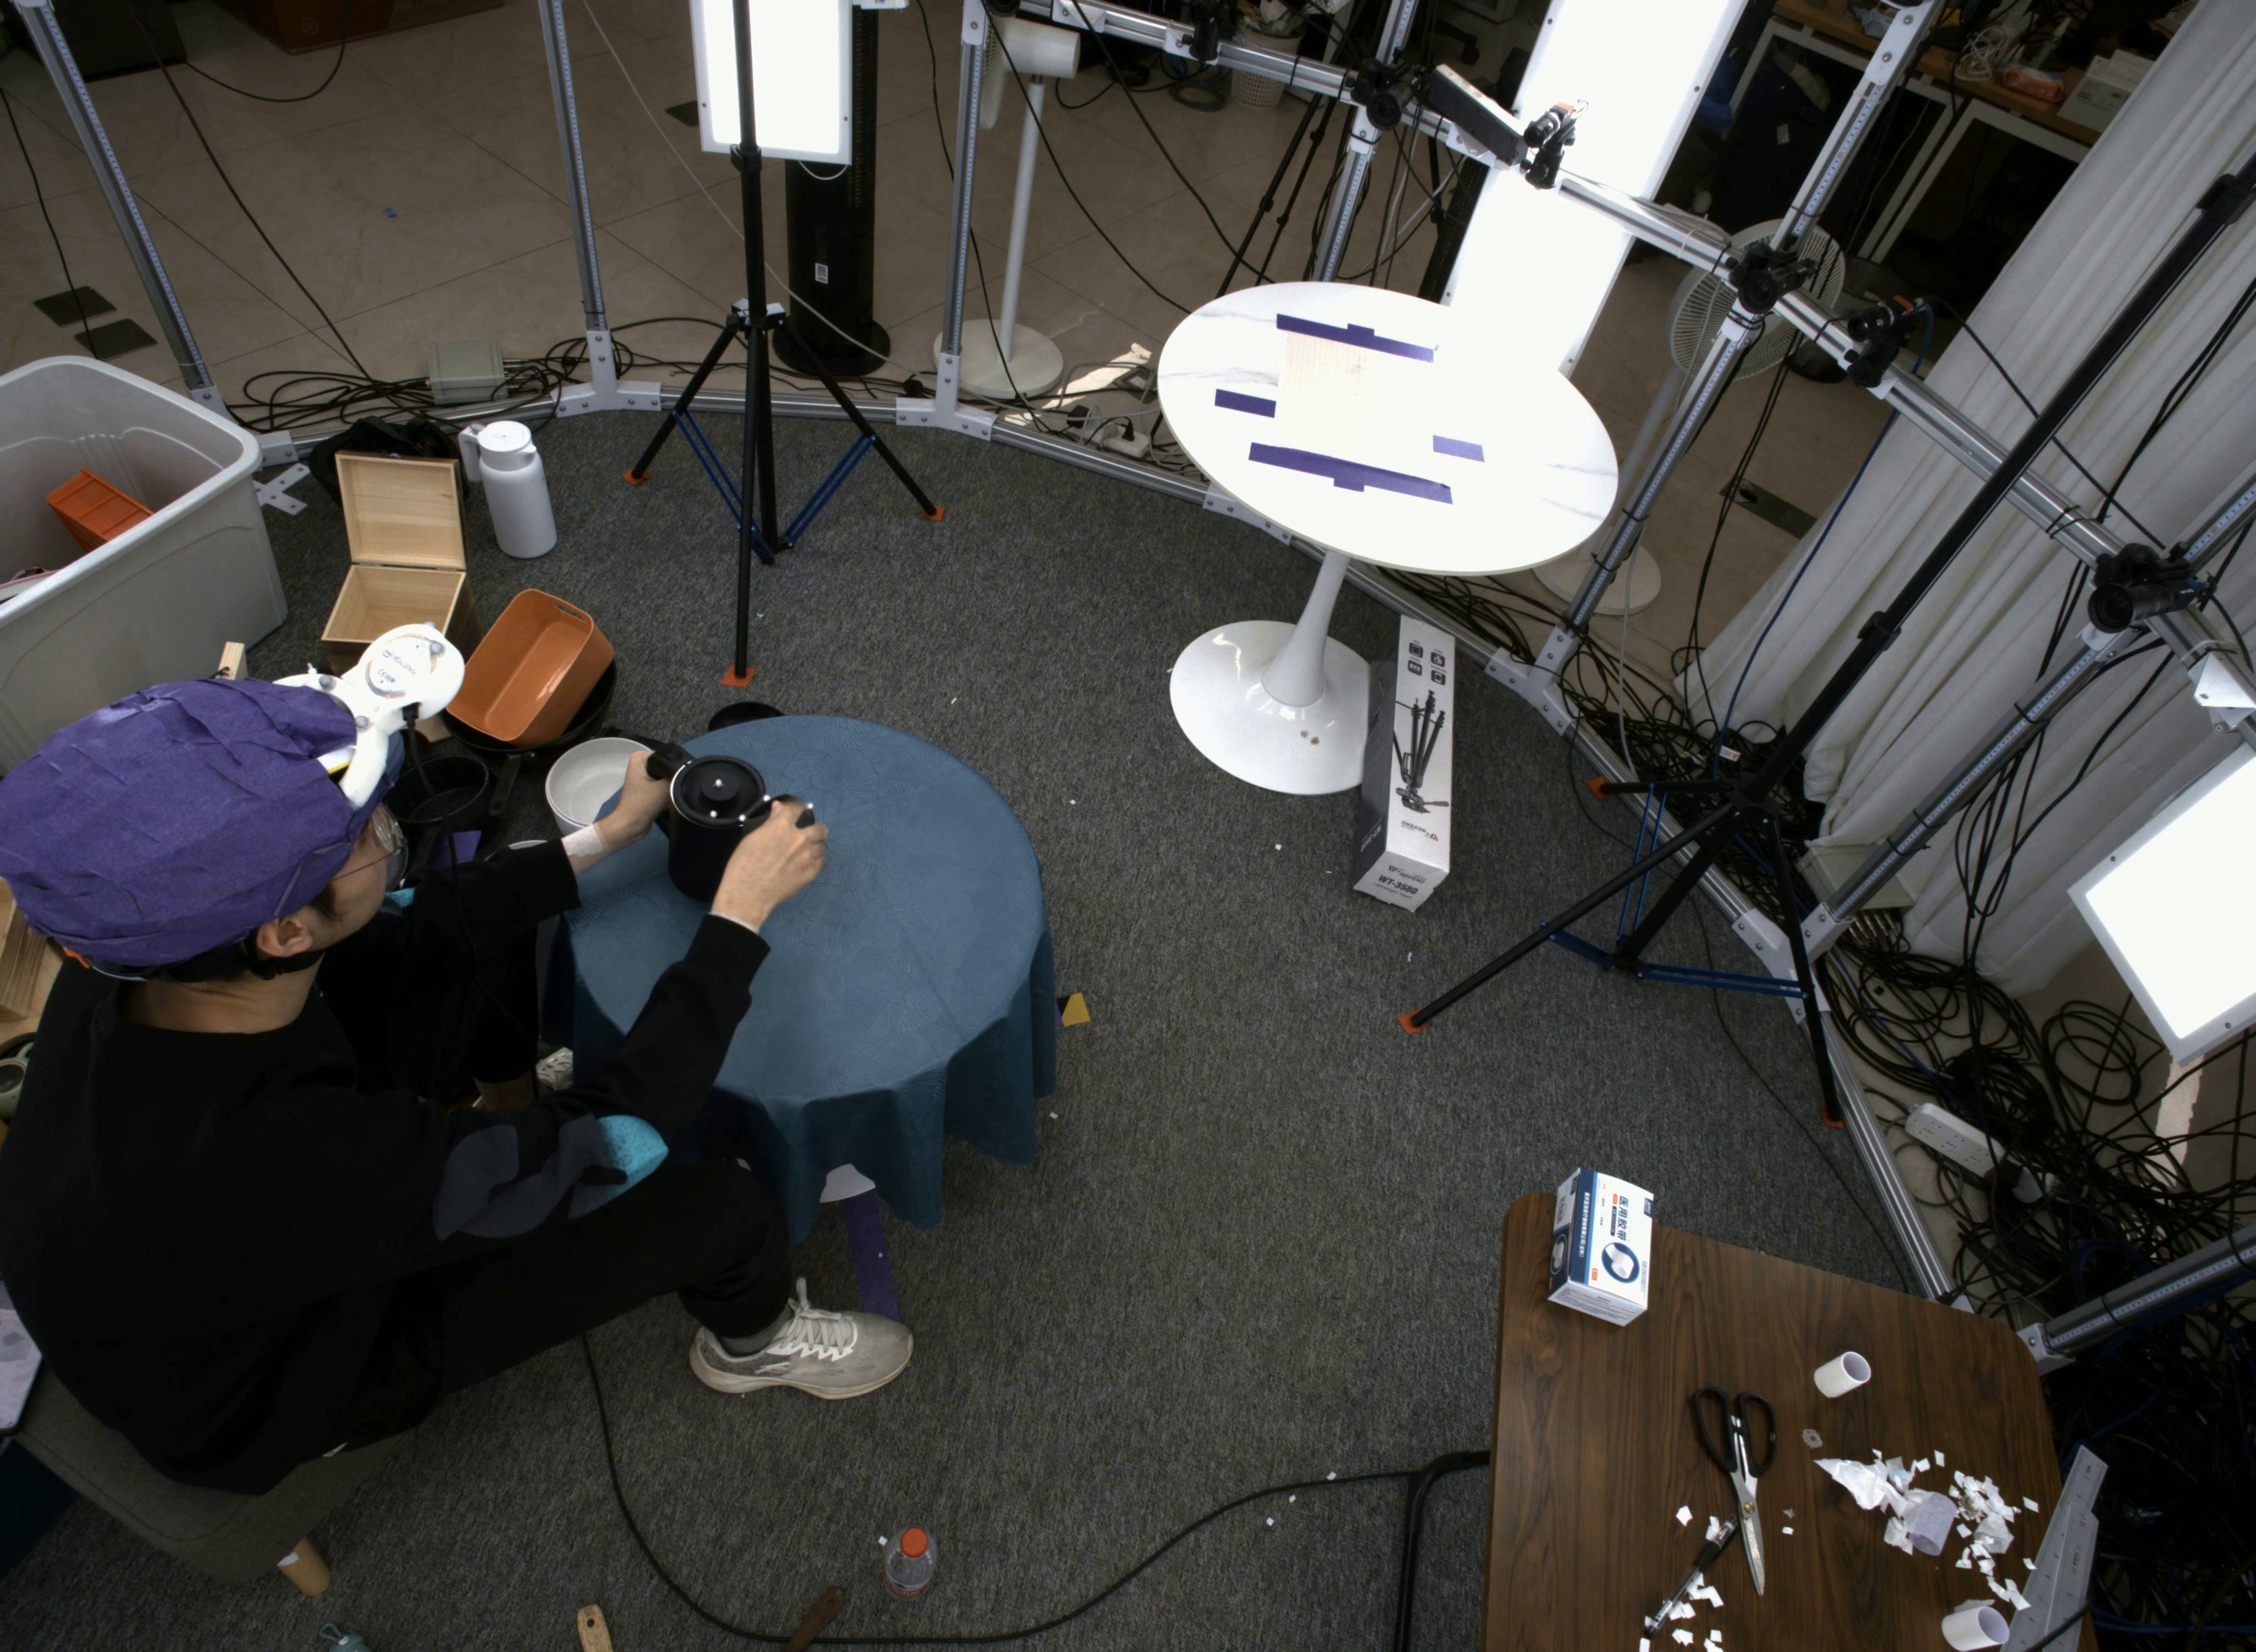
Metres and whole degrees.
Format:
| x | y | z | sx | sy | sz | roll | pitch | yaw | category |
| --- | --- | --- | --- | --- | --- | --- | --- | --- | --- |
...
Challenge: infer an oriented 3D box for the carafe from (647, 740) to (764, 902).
| x | y | z | sx | sy | sz | roll | pitch | yaw | category |
| --- | --- | --- | --- | --- | --- | --- | --- | --- | --- |
| -0.518 | -0.015 | 1.570 | 0.170 | 0.176 | 0.114 | 36 | 53 | 7 | carafe |

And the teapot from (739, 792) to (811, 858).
| x | y | z | sx | sy | sz | roll | pitch | yaw | category |
| --- | --- | --- | --- | --- | --- | --- | --- | --- | --- |
| -0.392 | -0.002 | 1.441 | 0.083 | 0.111 | 0.054 | -33 | 110 | -18 | teapot |
